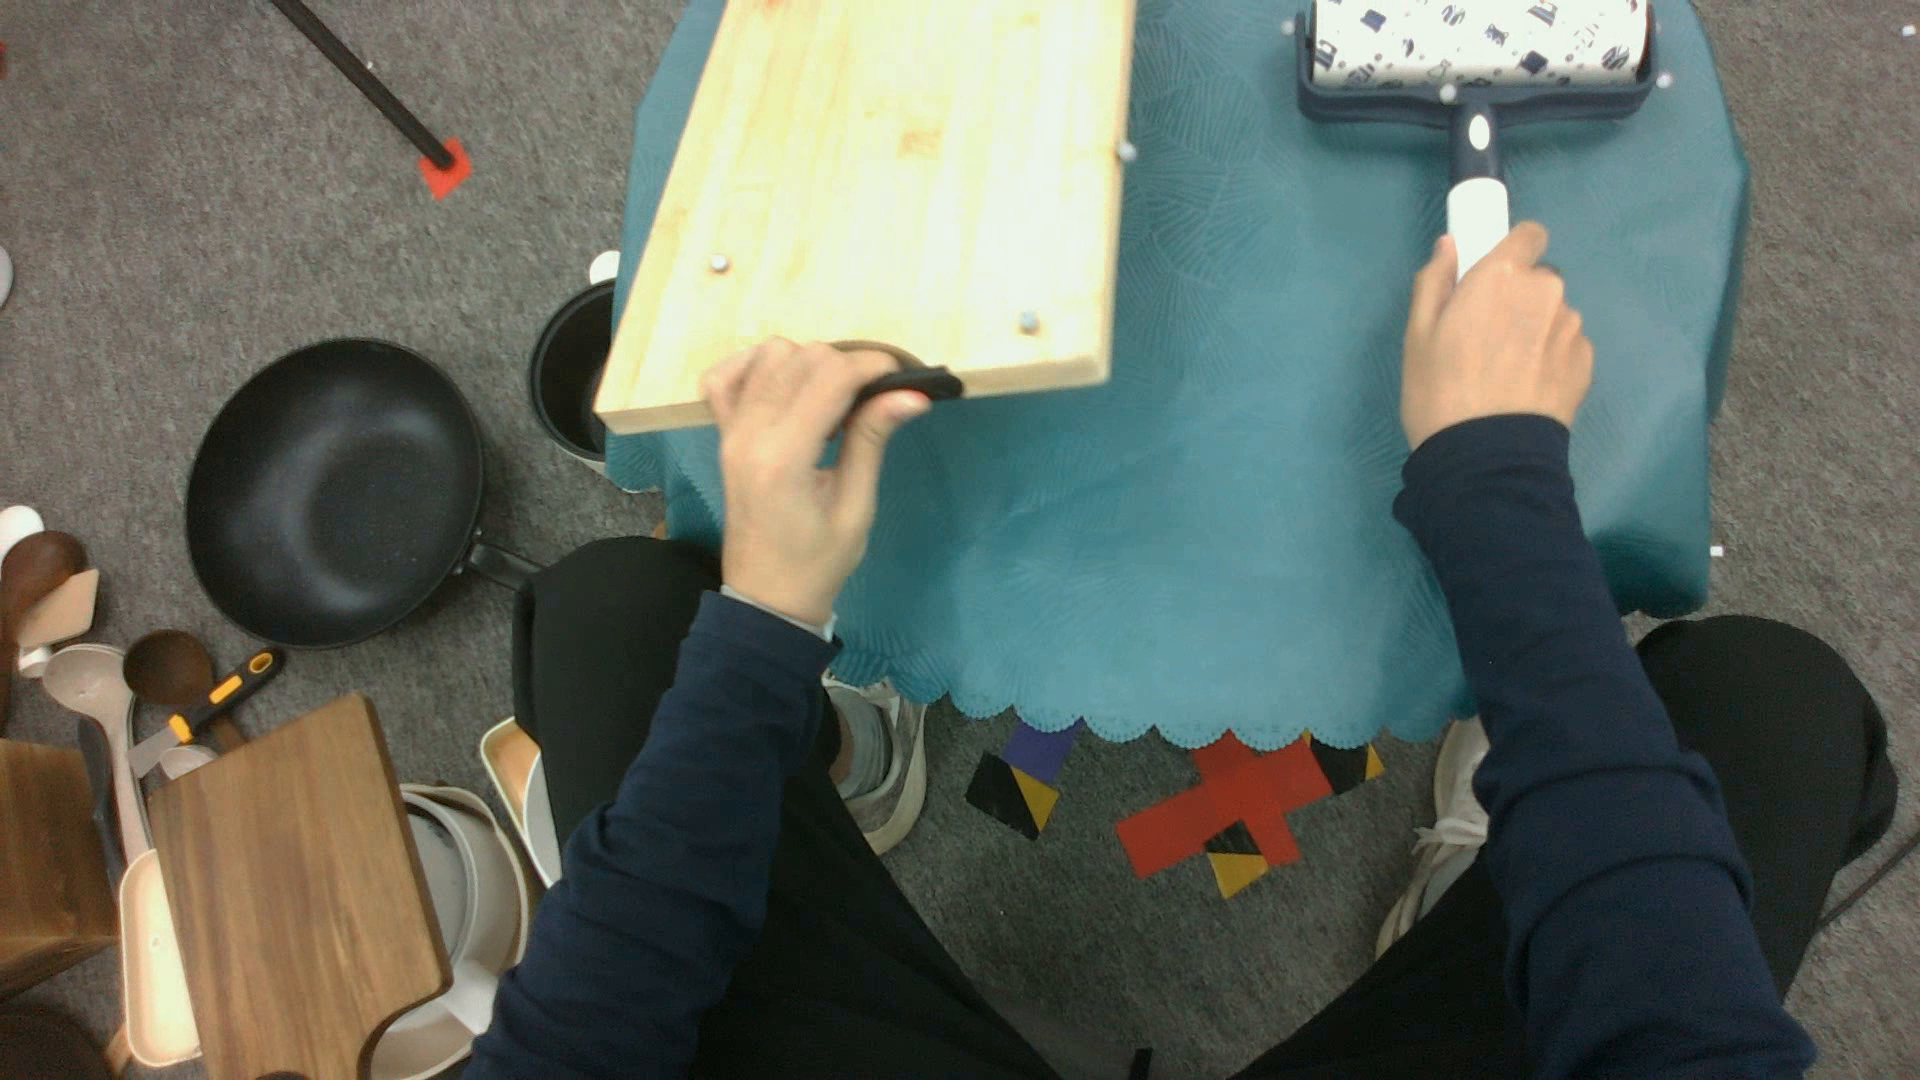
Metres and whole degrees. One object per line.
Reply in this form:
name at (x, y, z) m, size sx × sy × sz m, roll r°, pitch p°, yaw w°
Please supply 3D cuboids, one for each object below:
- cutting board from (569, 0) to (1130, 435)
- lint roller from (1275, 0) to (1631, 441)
cutting board at (-0.040, -0.204, 0.689) m, size 0.250 × 0.023 × 0.350 m, roll -5°, pitch 55°, yaw 18°
lint roller at (0.248, -0.169, 0.687) m, size 0.176 × 0.050 × 0.248 m, roll 2°, pitch 71°, yaw 7°
